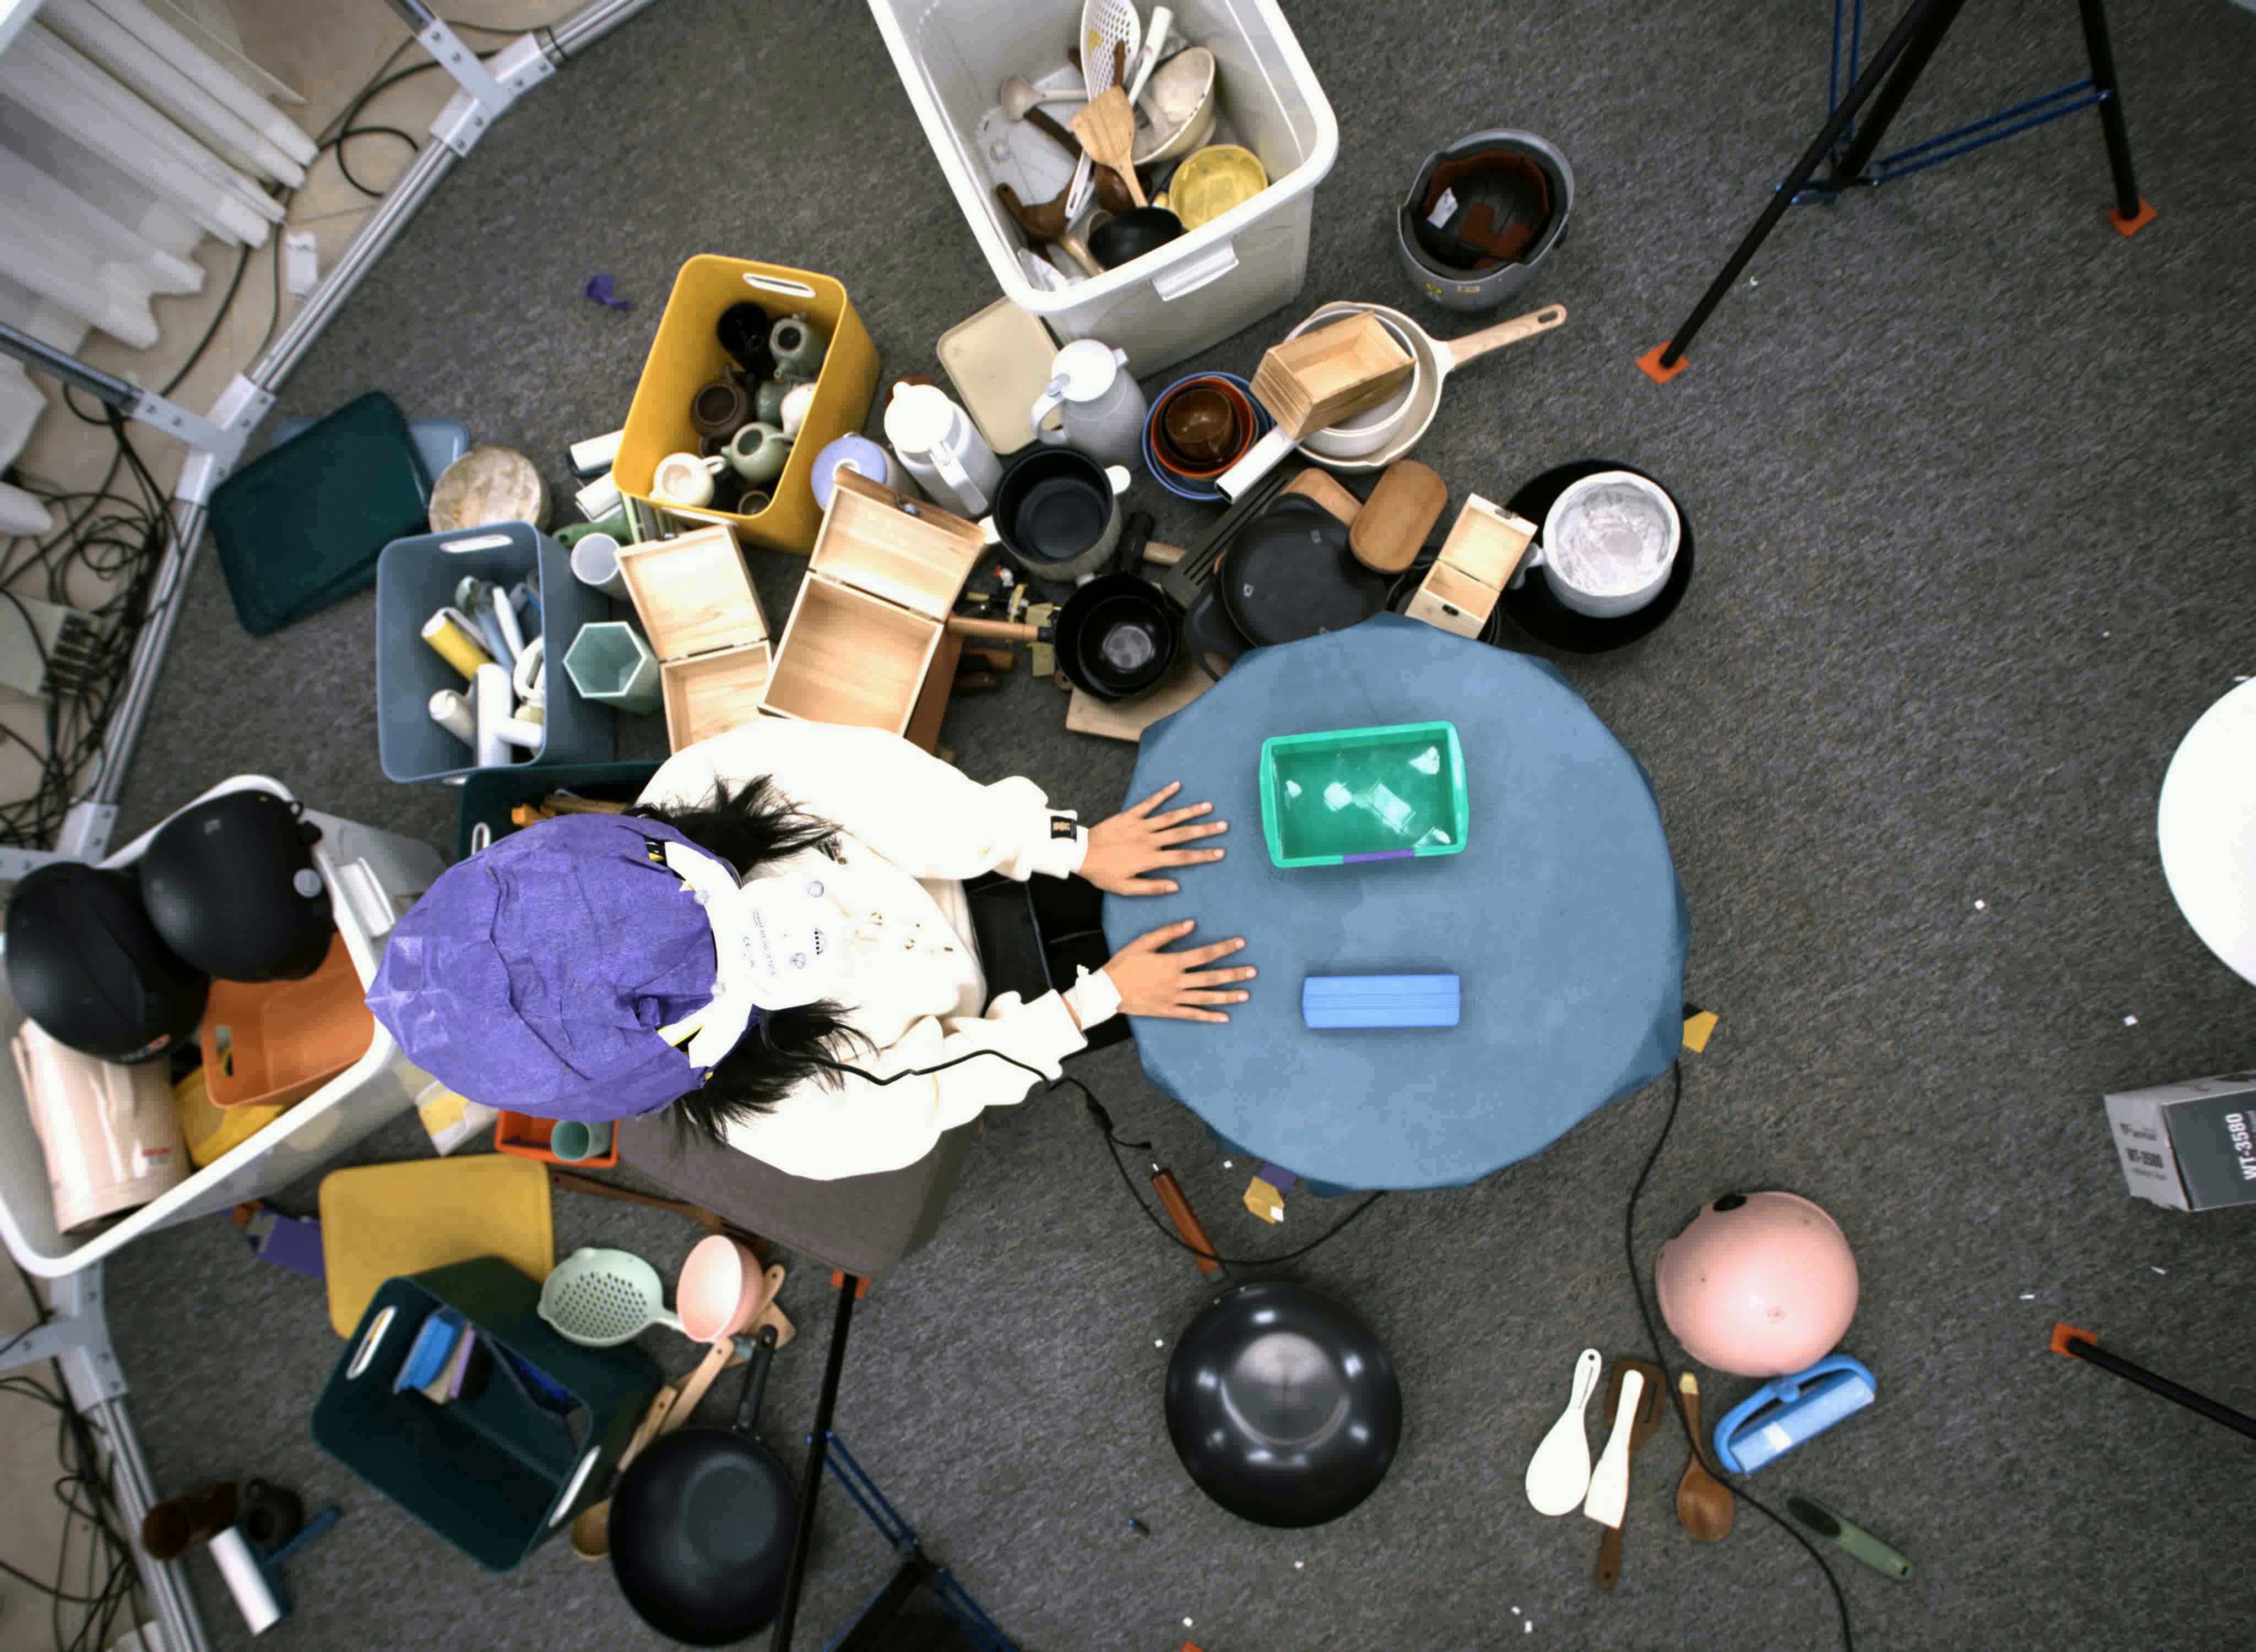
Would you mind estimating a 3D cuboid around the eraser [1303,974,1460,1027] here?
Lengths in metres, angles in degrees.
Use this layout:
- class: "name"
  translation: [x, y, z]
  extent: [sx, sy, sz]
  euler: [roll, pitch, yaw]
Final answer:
- class: "eraser"
  translation: [0.262, 0.180, 1.432]
  extent: [0.163, 0.047, 0.053]
  euler: [-2, 85, 10]

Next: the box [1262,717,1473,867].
- class: "box"
  translation: [0.248, -0.033, 1.439]
  extent: [0.211, 0.065, 0.138]
  euler: [-7, 87, 9]
